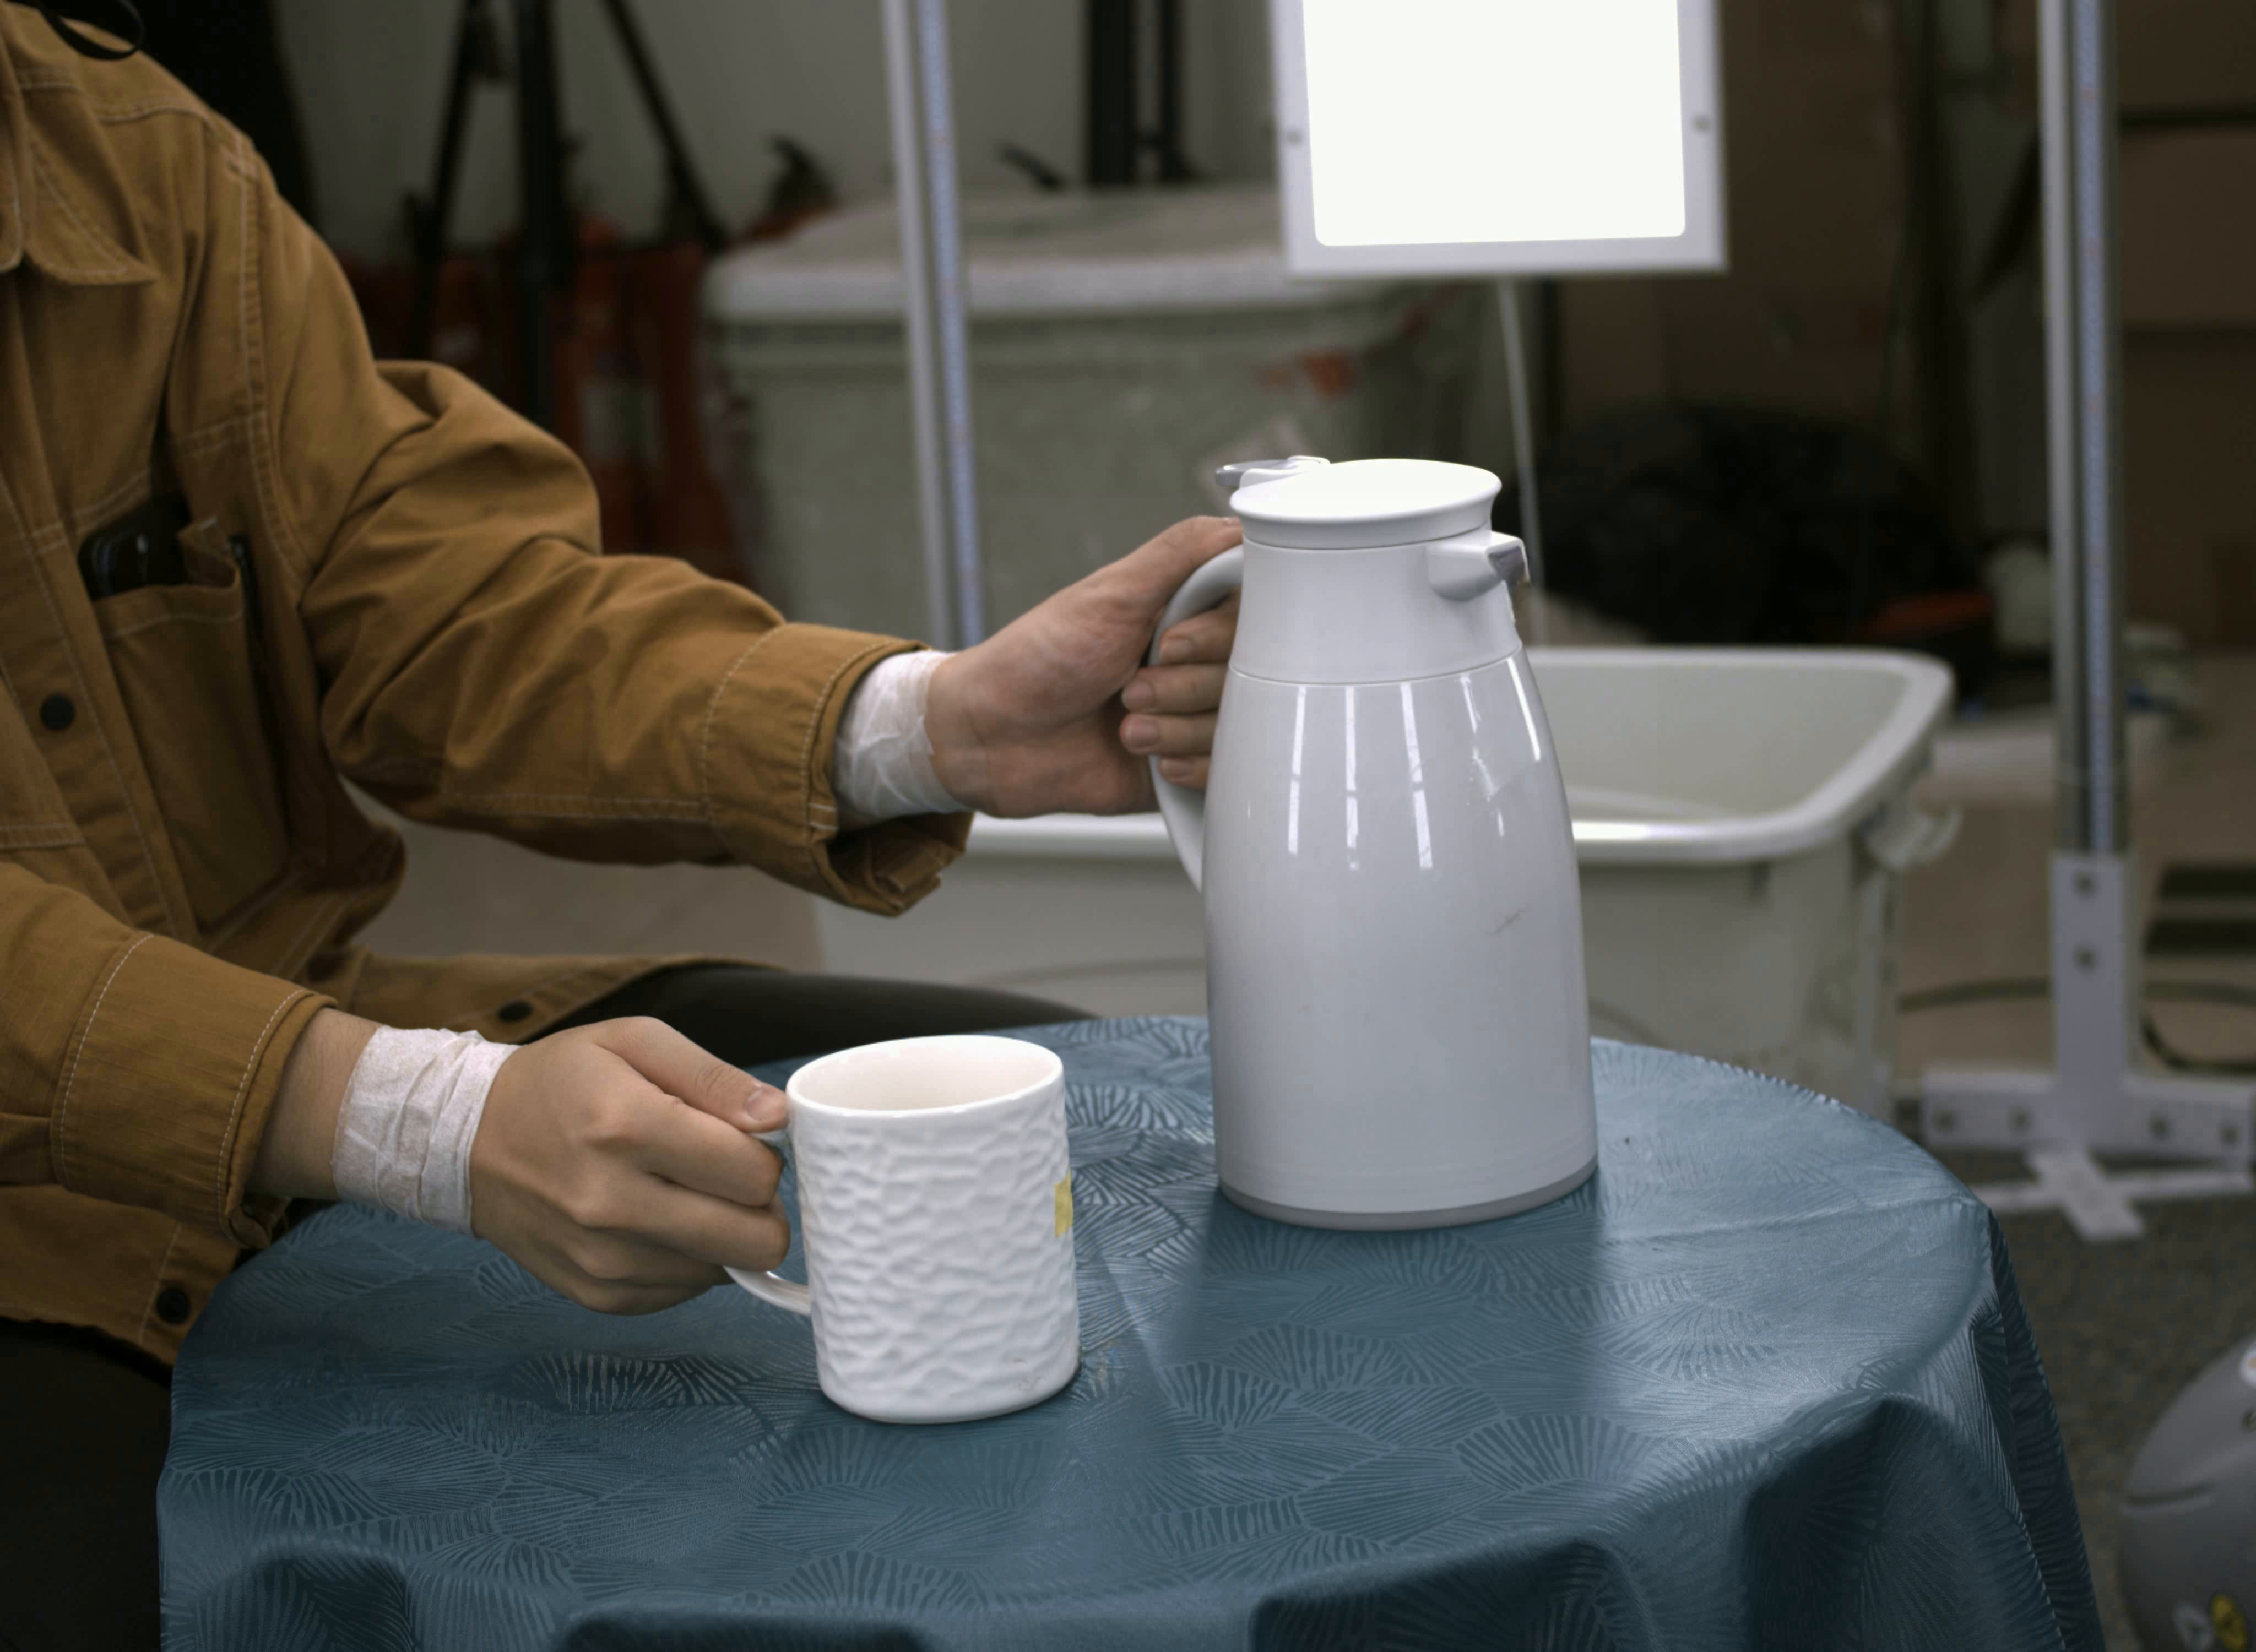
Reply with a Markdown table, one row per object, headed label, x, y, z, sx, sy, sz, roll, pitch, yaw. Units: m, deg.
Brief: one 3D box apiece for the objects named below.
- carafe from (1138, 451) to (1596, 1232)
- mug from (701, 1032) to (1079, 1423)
| label | x | y | z | sx | sy | sz | roll | pitch | yaw |
| --- | --- | --- | --- | --- | --- | --- | --- | --- | --- |
| carafe | 0.072 | -0.003 | 1.876 | 0.171 | 0.249 | 0.129 | 8 | 20 | 44 |
| mug | -0.075 | 0.125 | 1.717 | 0.119 | 0.102 | 0.083 | 0 | 15 | 17 |
